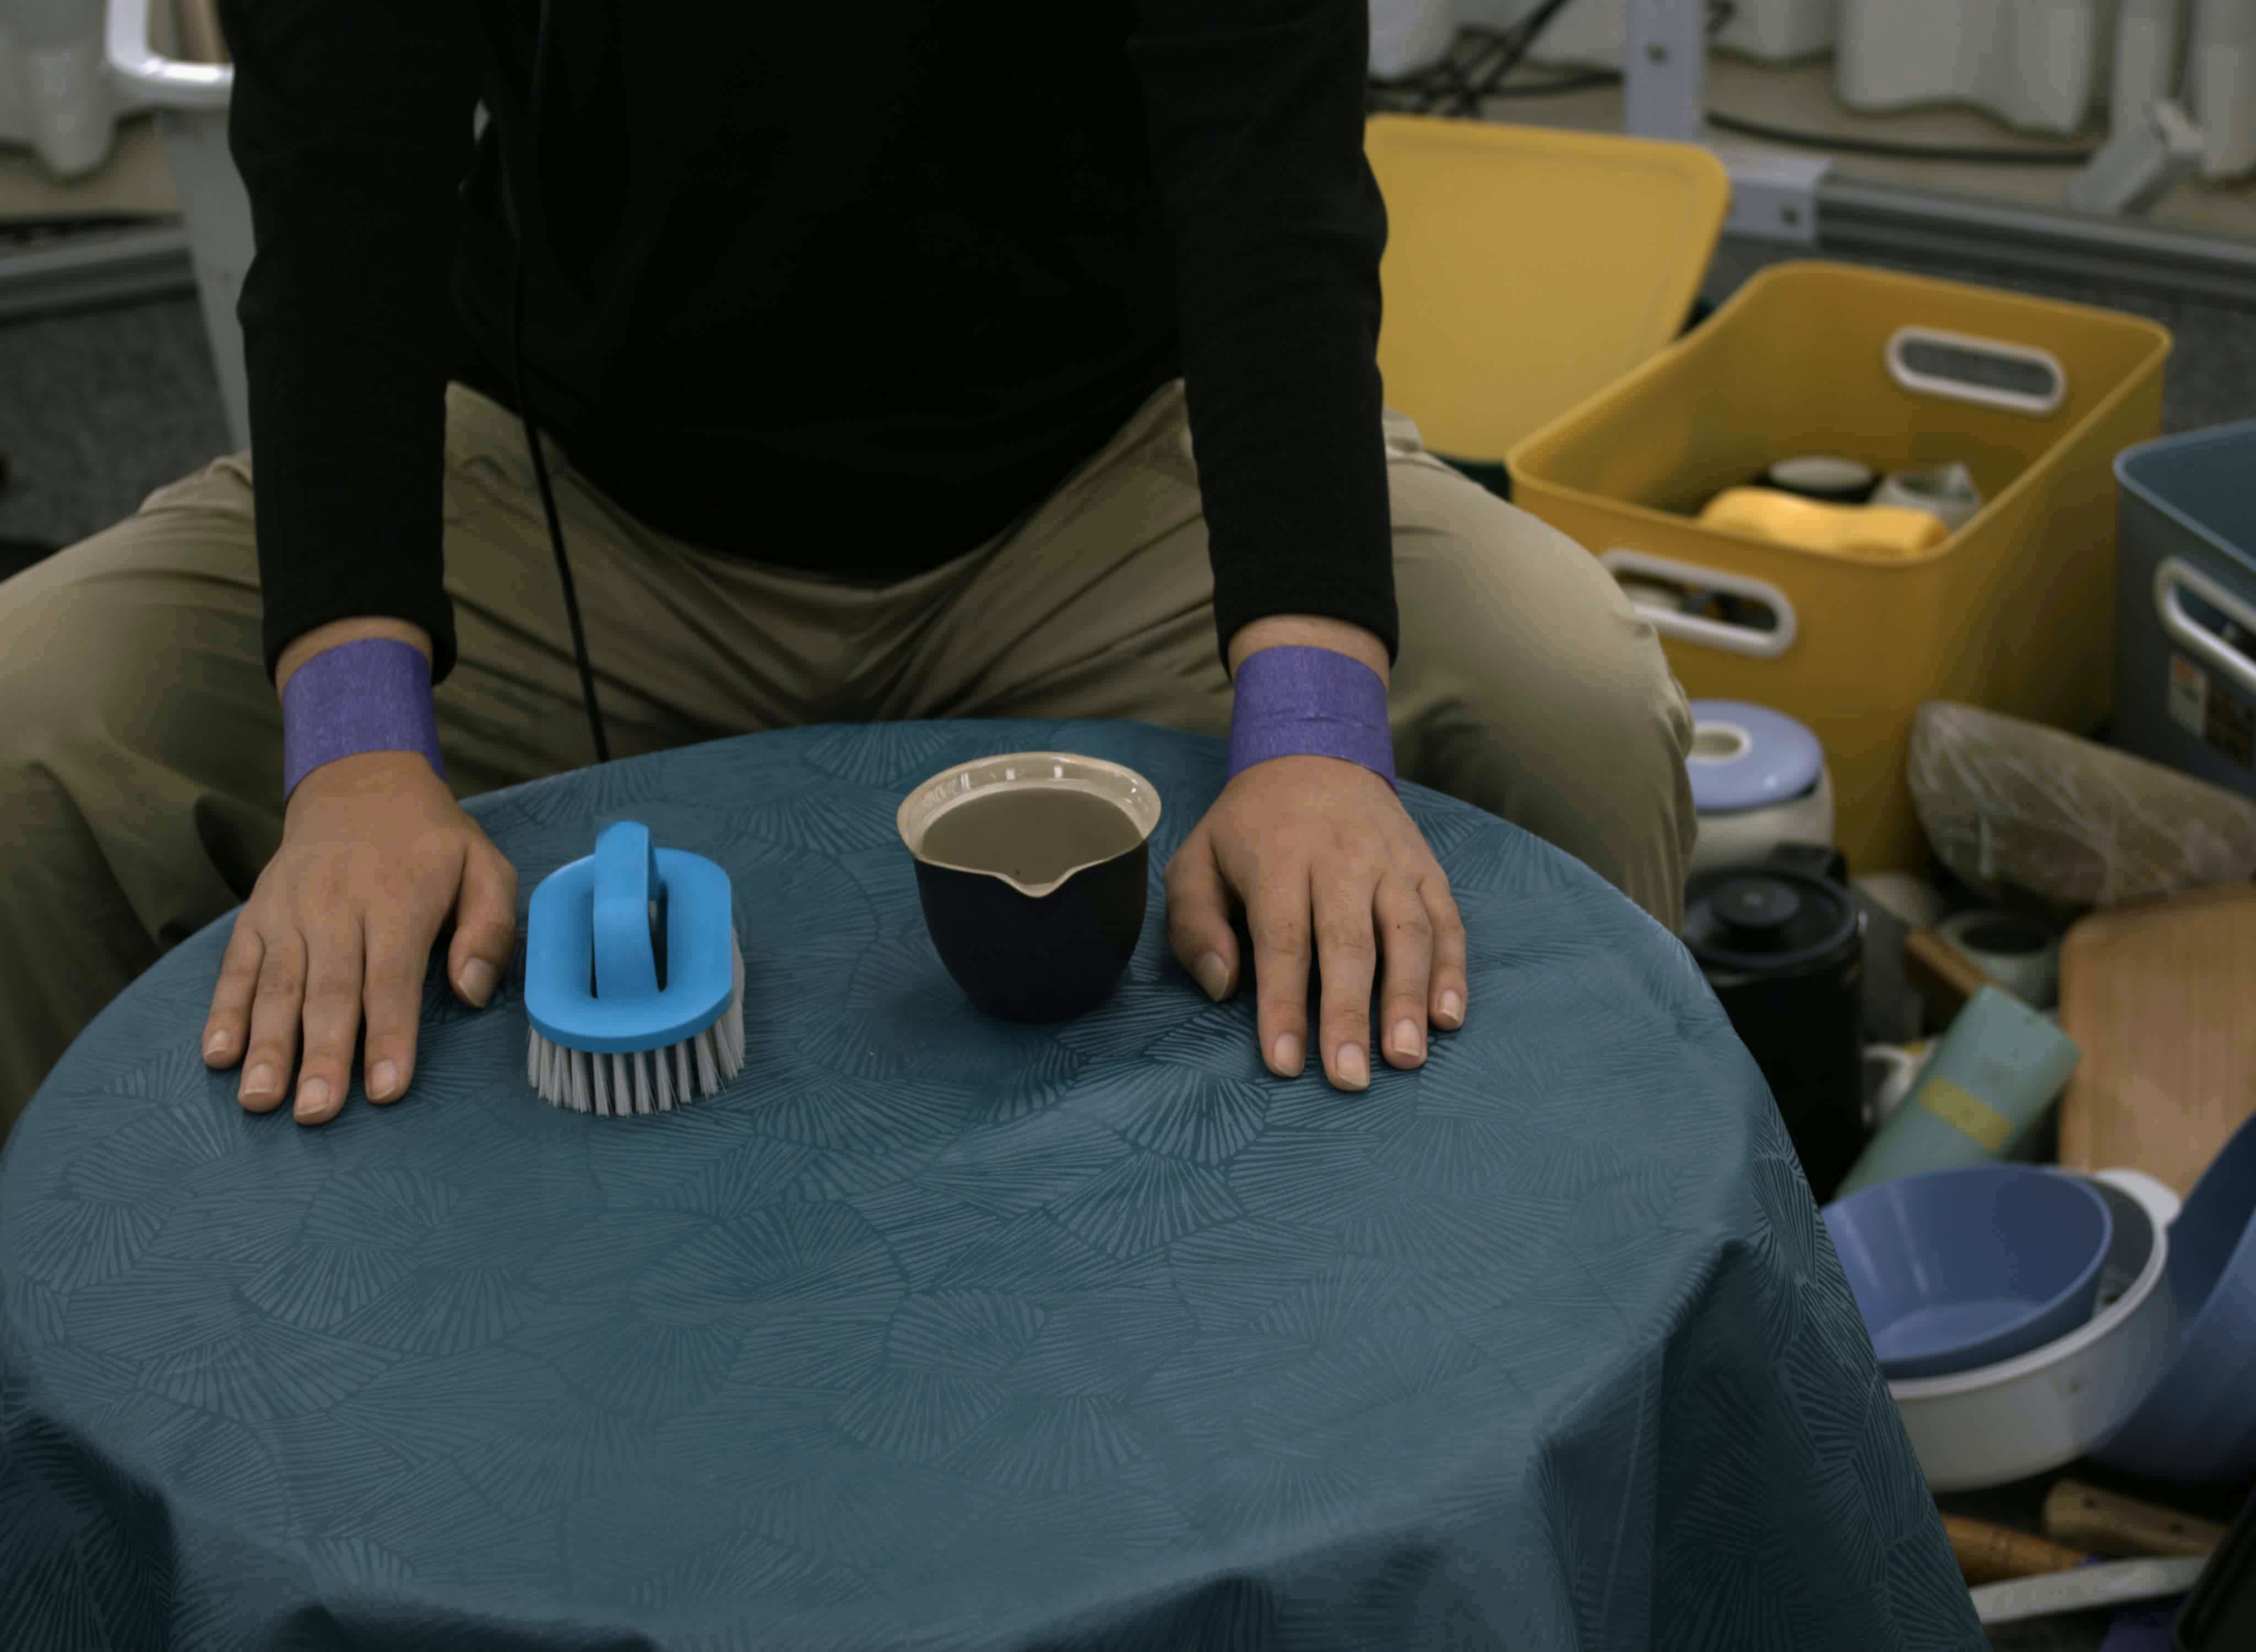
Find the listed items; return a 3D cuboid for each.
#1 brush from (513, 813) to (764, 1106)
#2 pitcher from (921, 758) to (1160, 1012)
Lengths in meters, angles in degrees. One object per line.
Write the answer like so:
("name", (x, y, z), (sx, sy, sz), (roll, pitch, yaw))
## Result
("brush", (-0.173, 0.038, 1.969), (0.084, 0.063, 0.144), (-7, 26, 1))
("pitcher", (-0.030, 0.025, 1.970), (0.083, 0.070, 0.097), (-1, 29, 2))
